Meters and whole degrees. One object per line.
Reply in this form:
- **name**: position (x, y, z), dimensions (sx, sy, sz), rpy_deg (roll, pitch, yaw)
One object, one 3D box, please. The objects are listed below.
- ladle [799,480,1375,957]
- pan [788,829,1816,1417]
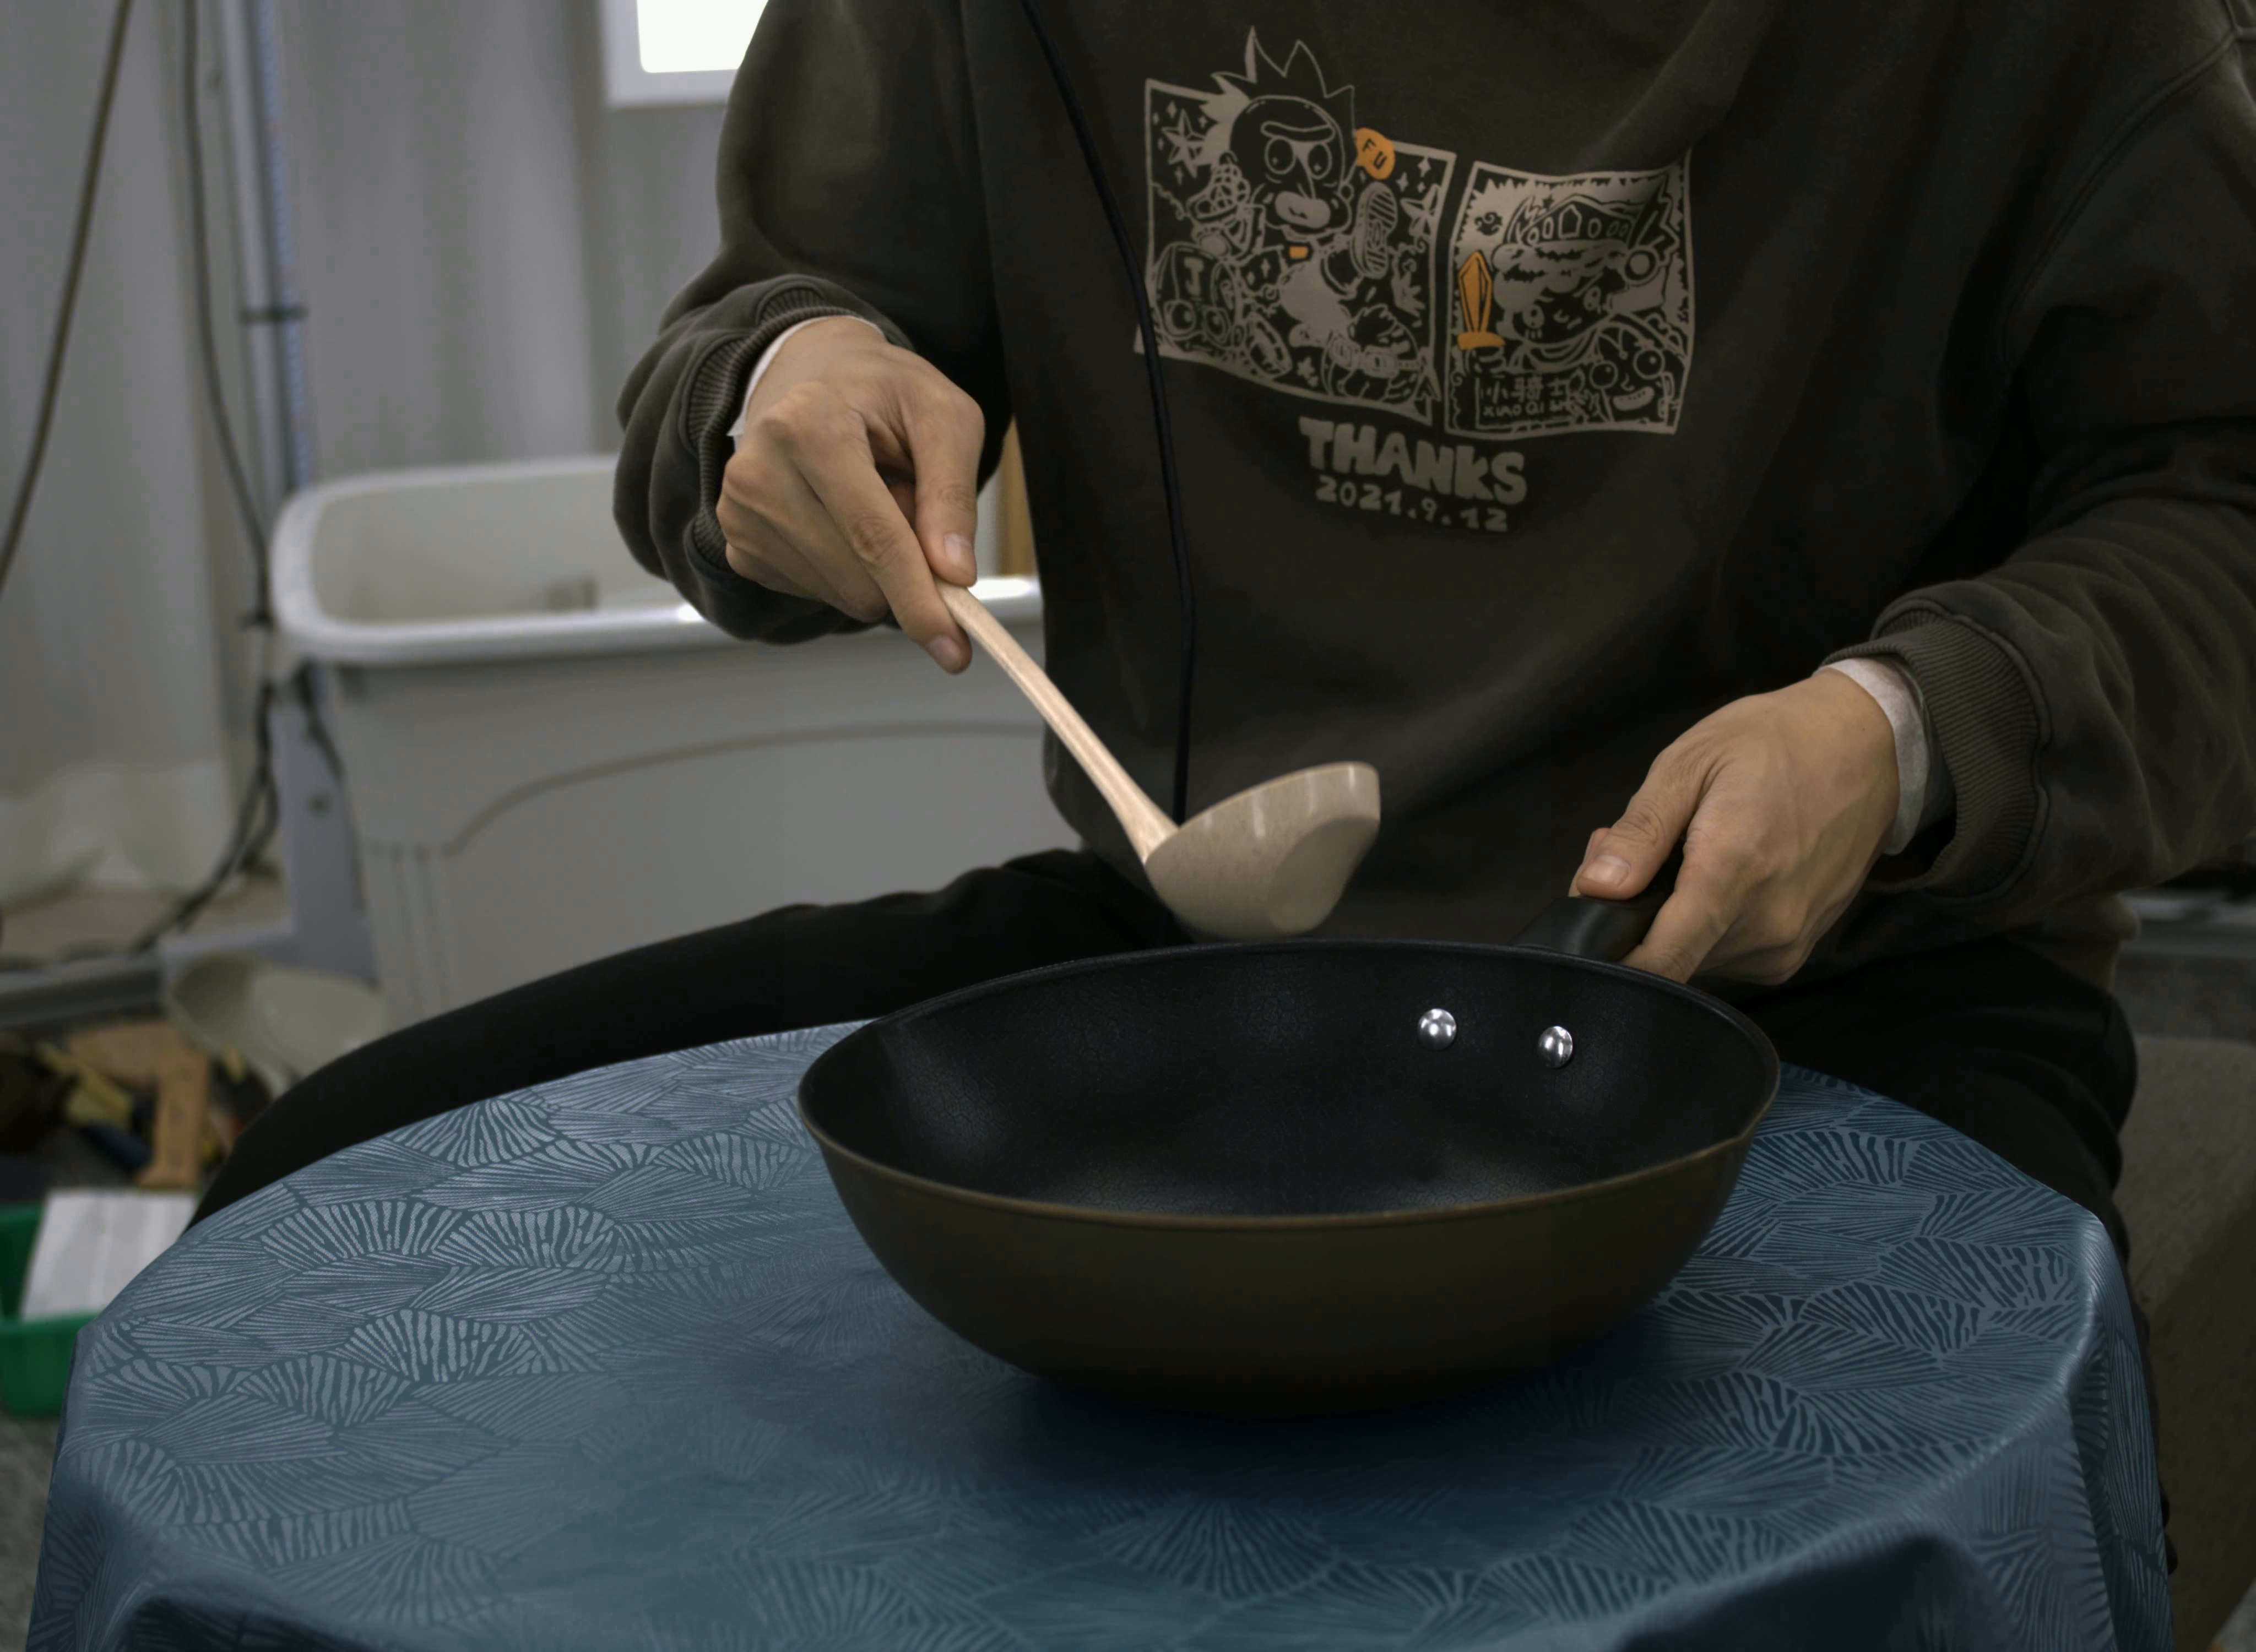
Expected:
- **ladle**: position (-0.018, -0.057, 1.667), dimensions (0.072, 0.072, 0.257), rpy_deg (-10, 46, -40)
- **pan**: position (0.092, 0.086, 1.653), dimensions (0.289, 0.086, 0.463), rpy_deg (6, 16, 31)
